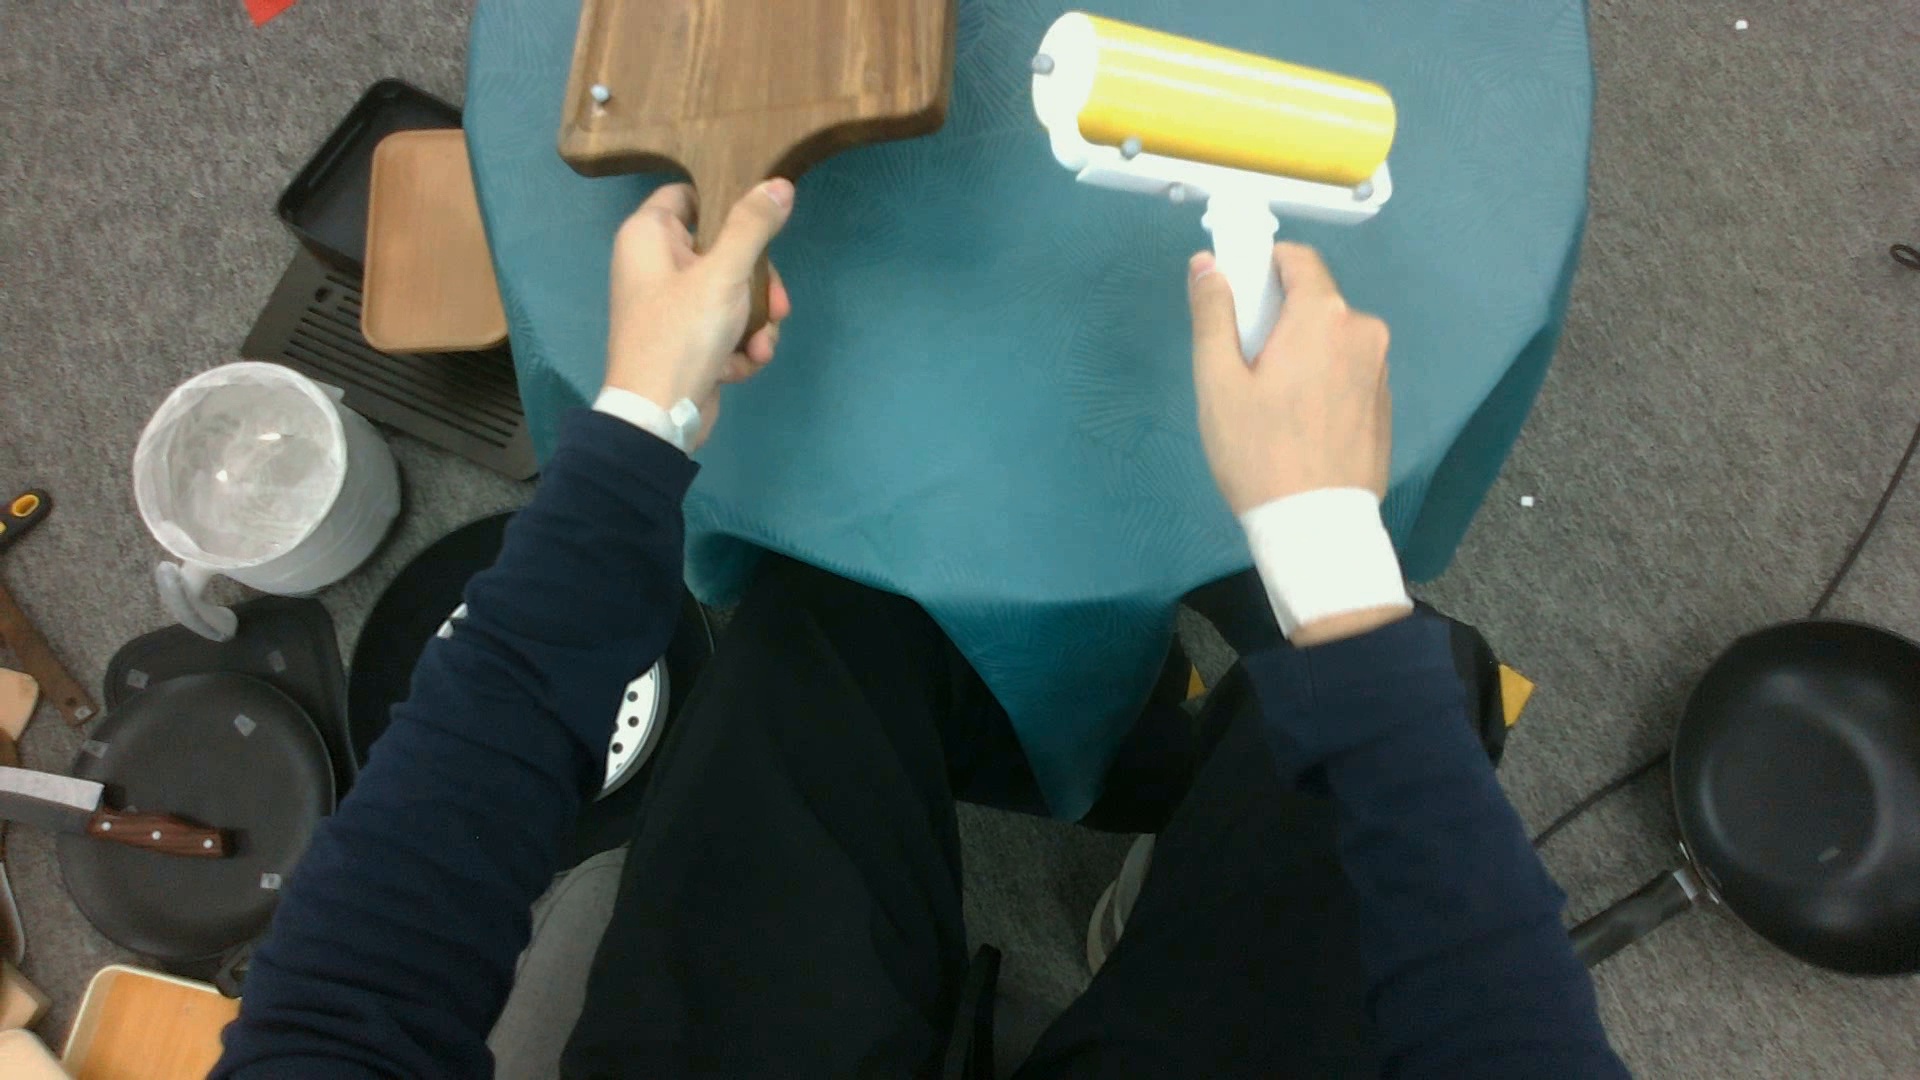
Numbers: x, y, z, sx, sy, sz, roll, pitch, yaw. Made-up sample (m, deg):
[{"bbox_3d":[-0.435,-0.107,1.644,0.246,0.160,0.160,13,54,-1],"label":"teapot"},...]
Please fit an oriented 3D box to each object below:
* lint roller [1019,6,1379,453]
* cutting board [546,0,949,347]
[{"bbox_3d":[0.122,-0.132,0.583,0.174,0.051,0.192,-1,65,-27],"label":"lint roller"},{"bbox_3d":[-0.102,-0.256,0.671,0.201,0.023,0.353,-2,70,16],"label":"cutting board"}]
